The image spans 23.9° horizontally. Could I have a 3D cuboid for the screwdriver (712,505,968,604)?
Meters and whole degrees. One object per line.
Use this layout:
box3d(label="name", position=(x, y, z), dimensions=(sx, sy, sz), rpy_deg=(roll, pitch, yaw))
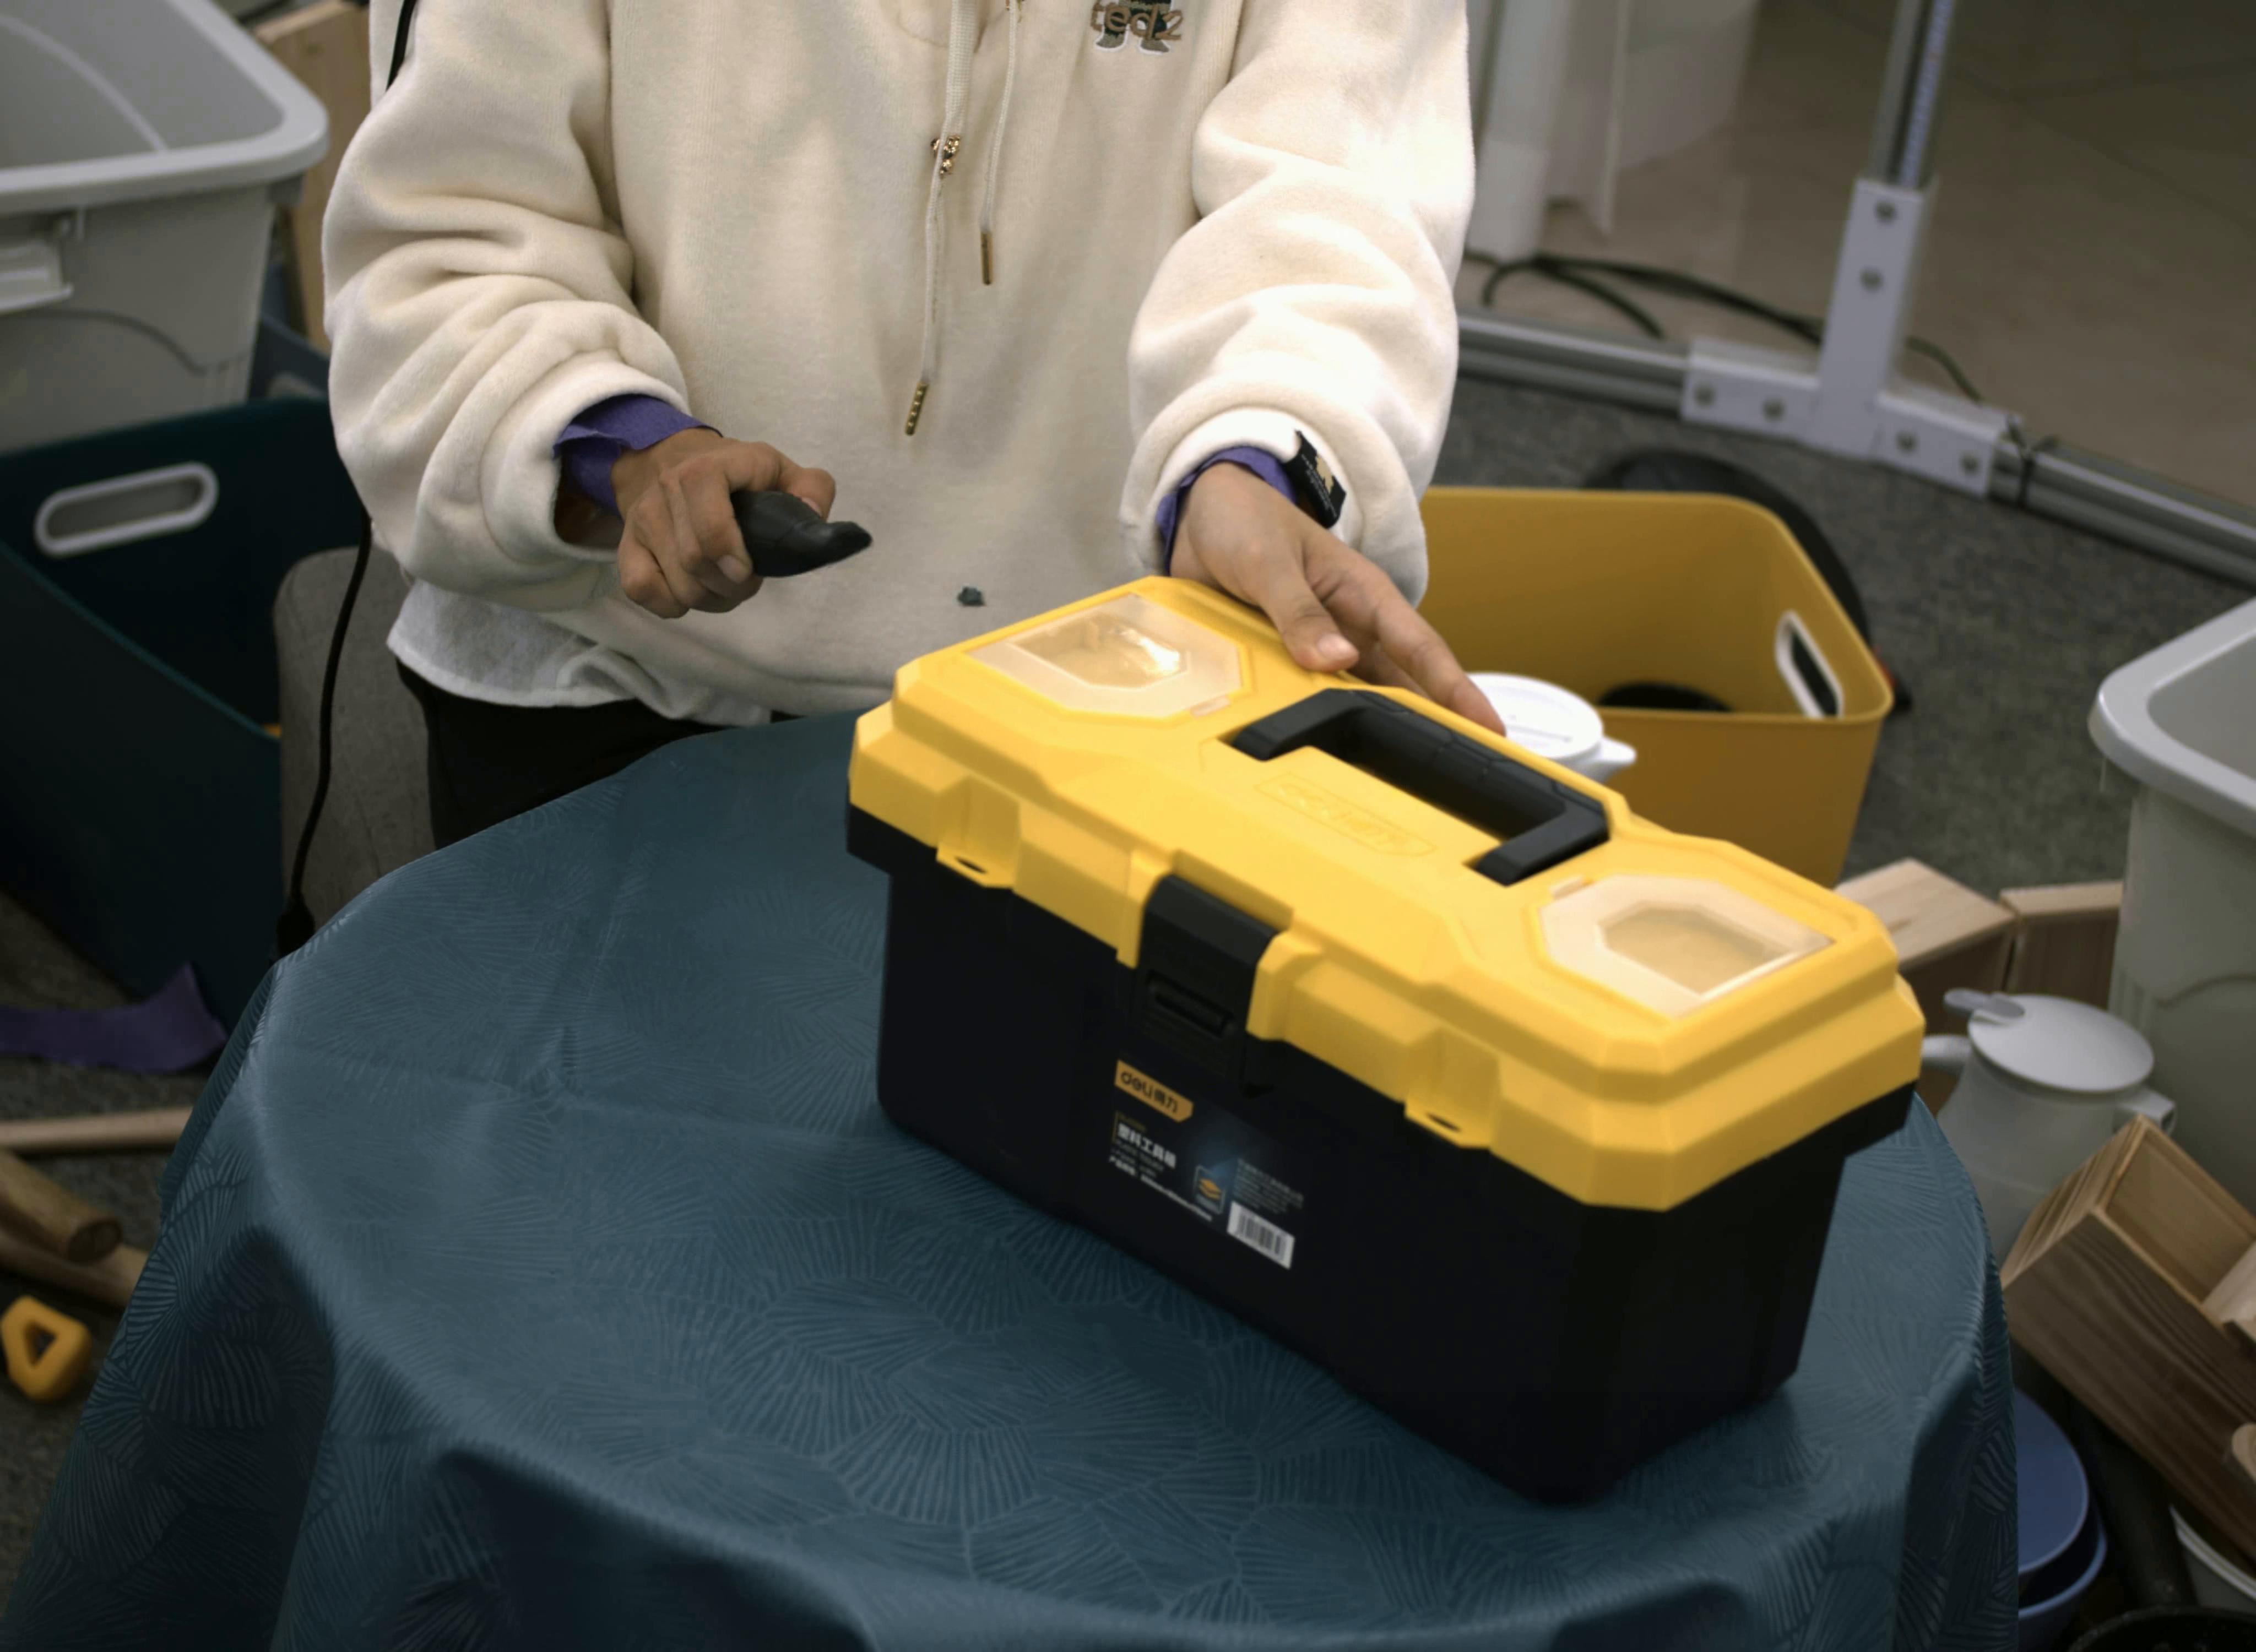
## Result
box3d(label="screwdriver", position=(-0.099, -0.090, 1.887), dimensions=(0.031, 0.031, 0.199), rpy_deg=(-8, 15, -27))

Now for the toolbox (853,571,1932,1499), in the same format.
box3d(label="toolbox", position=(0.074, 0.063, 1.746), dimensions=(0.354, 0.172, 0.180), rpy_deg=(28, 34, 36))
